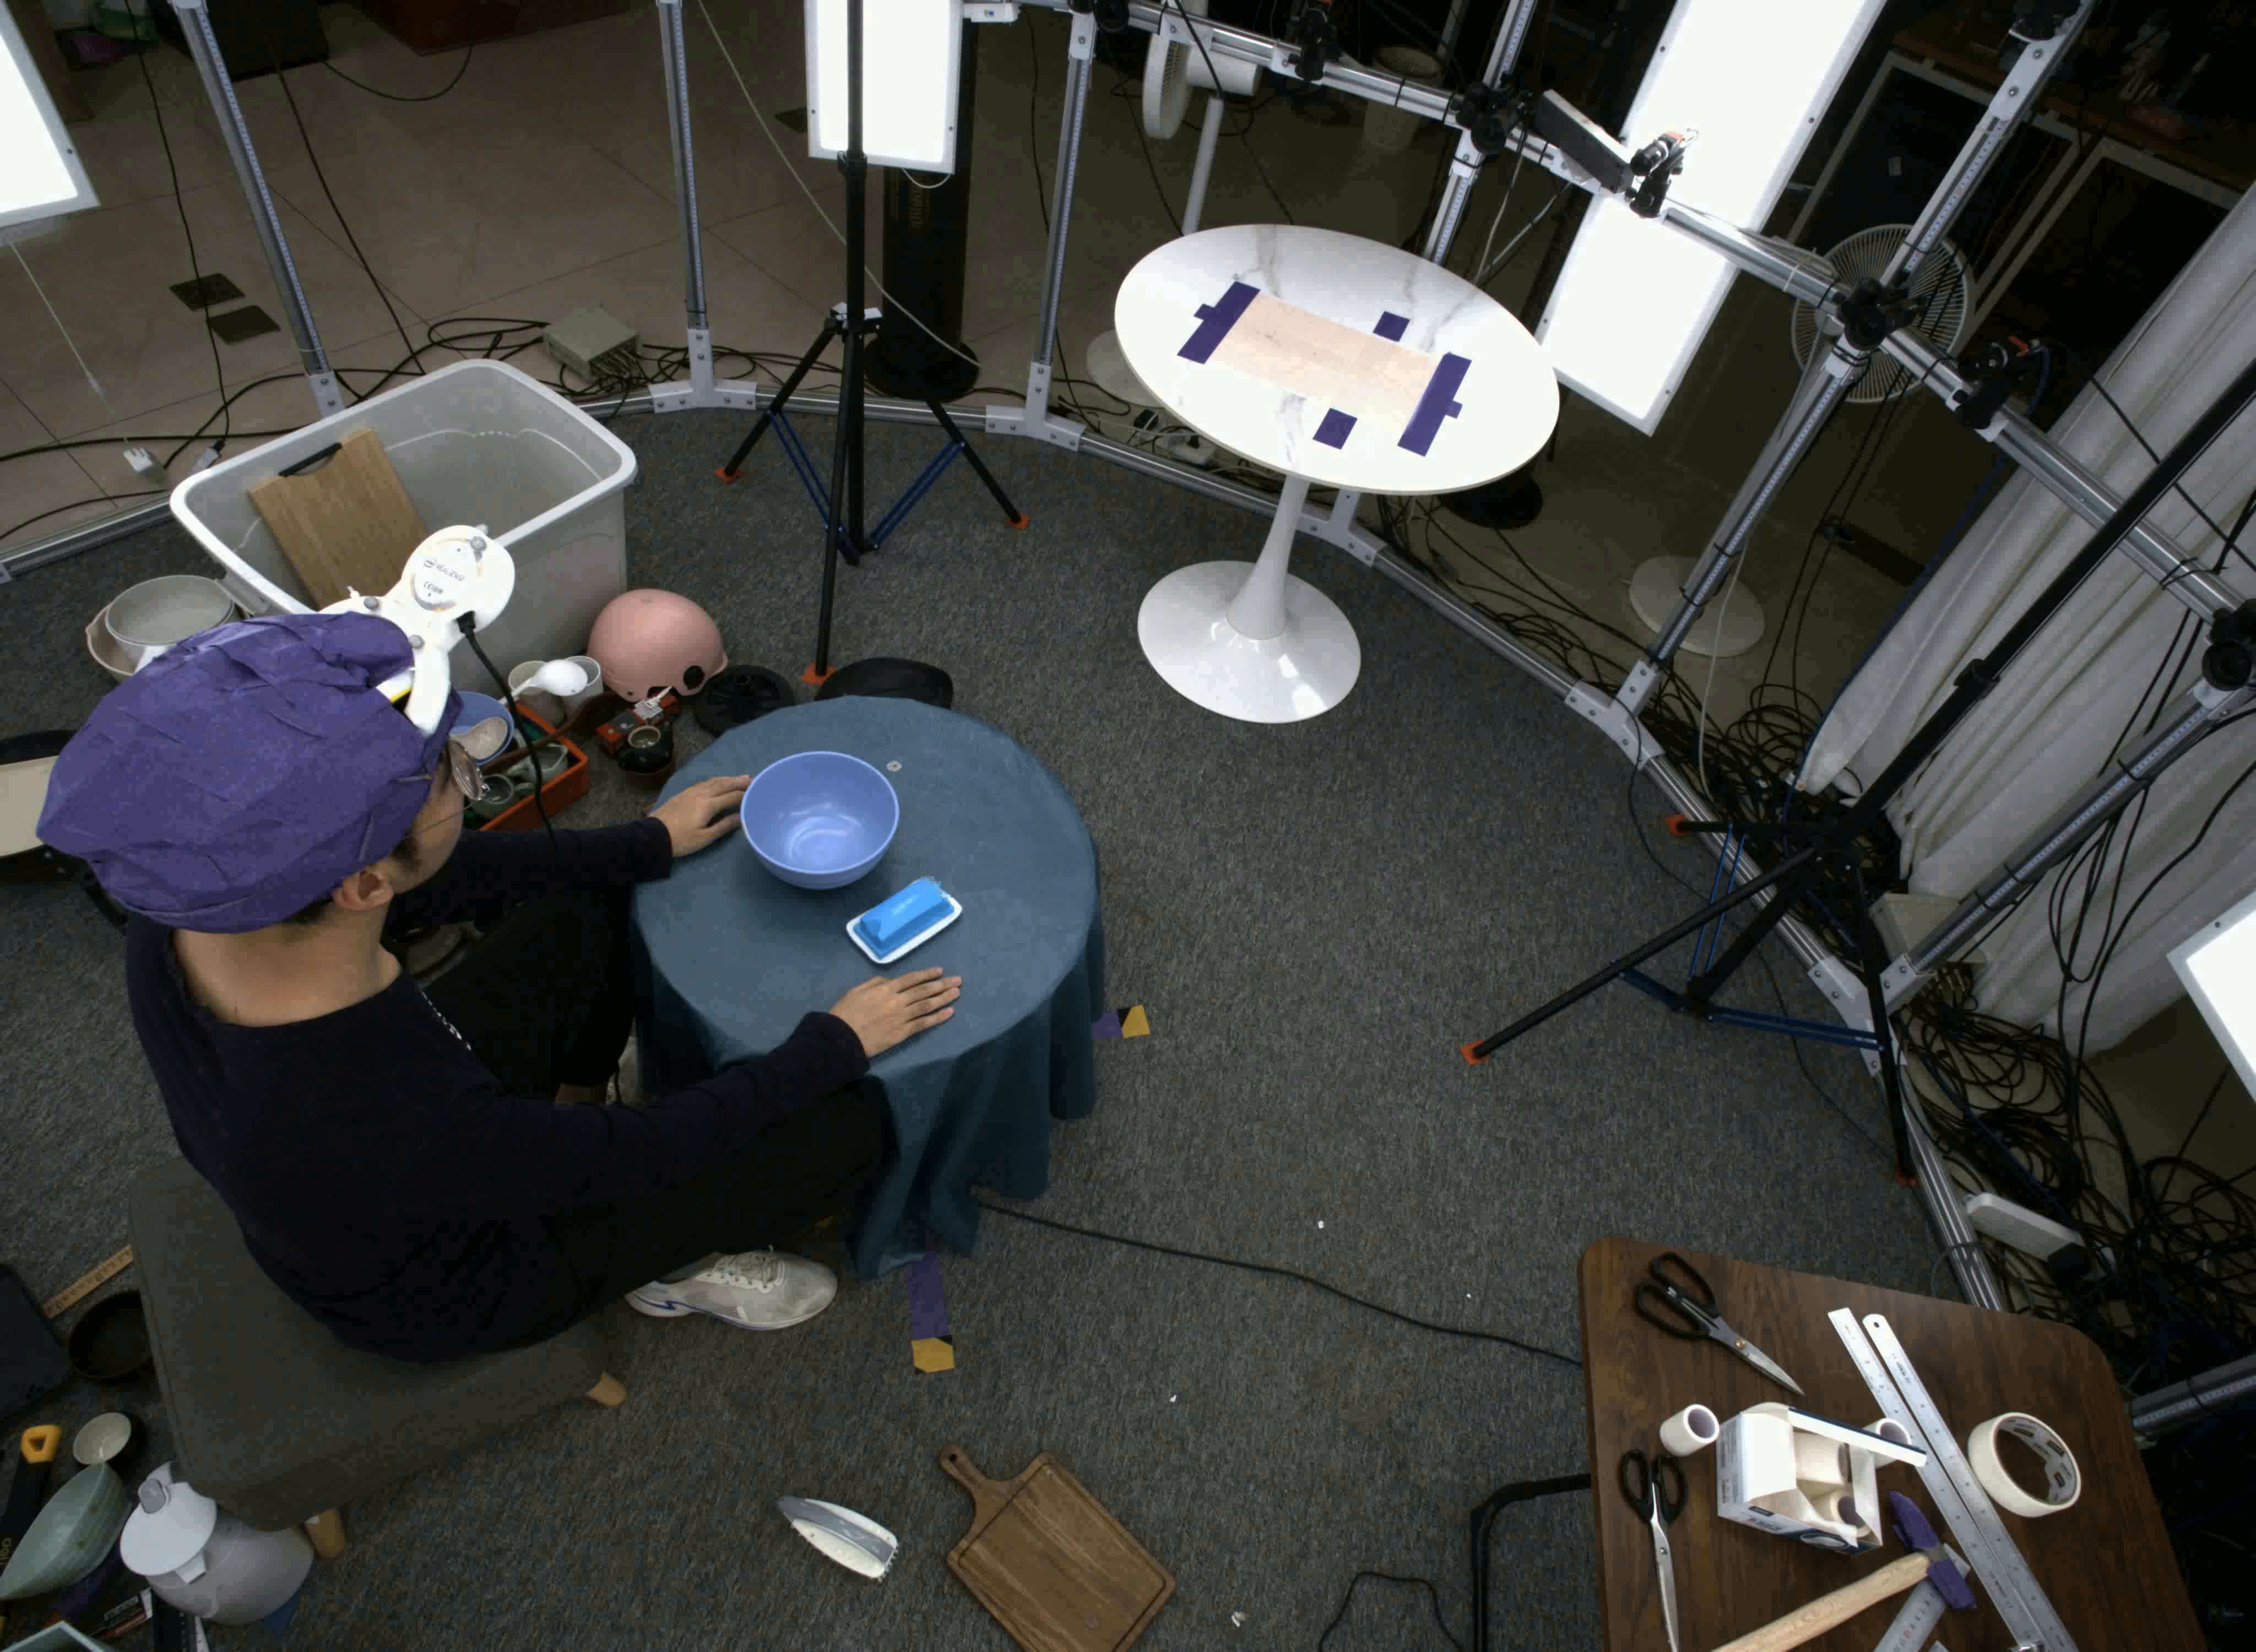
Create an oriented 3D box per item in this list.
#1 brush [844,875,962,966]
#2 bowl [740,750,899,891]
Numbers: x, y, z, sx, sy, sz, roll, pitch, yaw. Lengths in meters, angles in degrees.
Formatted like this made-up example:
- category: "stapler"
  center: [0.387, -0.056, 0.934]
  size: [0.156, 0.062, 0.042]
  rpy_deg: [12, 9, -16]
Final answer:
- category: "brush"
  center: [-0.283, 0.110, 1.638]
  size: [0.144, 0.057, 0.081]
  rpy_deg: [-32, 61, -35]
- category: "bowl"
  center: [-0.394, 0.008, 1.667]
  size: [0.196, 0.097, 0.193]
  rpy_deg: [8, 52, -8]
